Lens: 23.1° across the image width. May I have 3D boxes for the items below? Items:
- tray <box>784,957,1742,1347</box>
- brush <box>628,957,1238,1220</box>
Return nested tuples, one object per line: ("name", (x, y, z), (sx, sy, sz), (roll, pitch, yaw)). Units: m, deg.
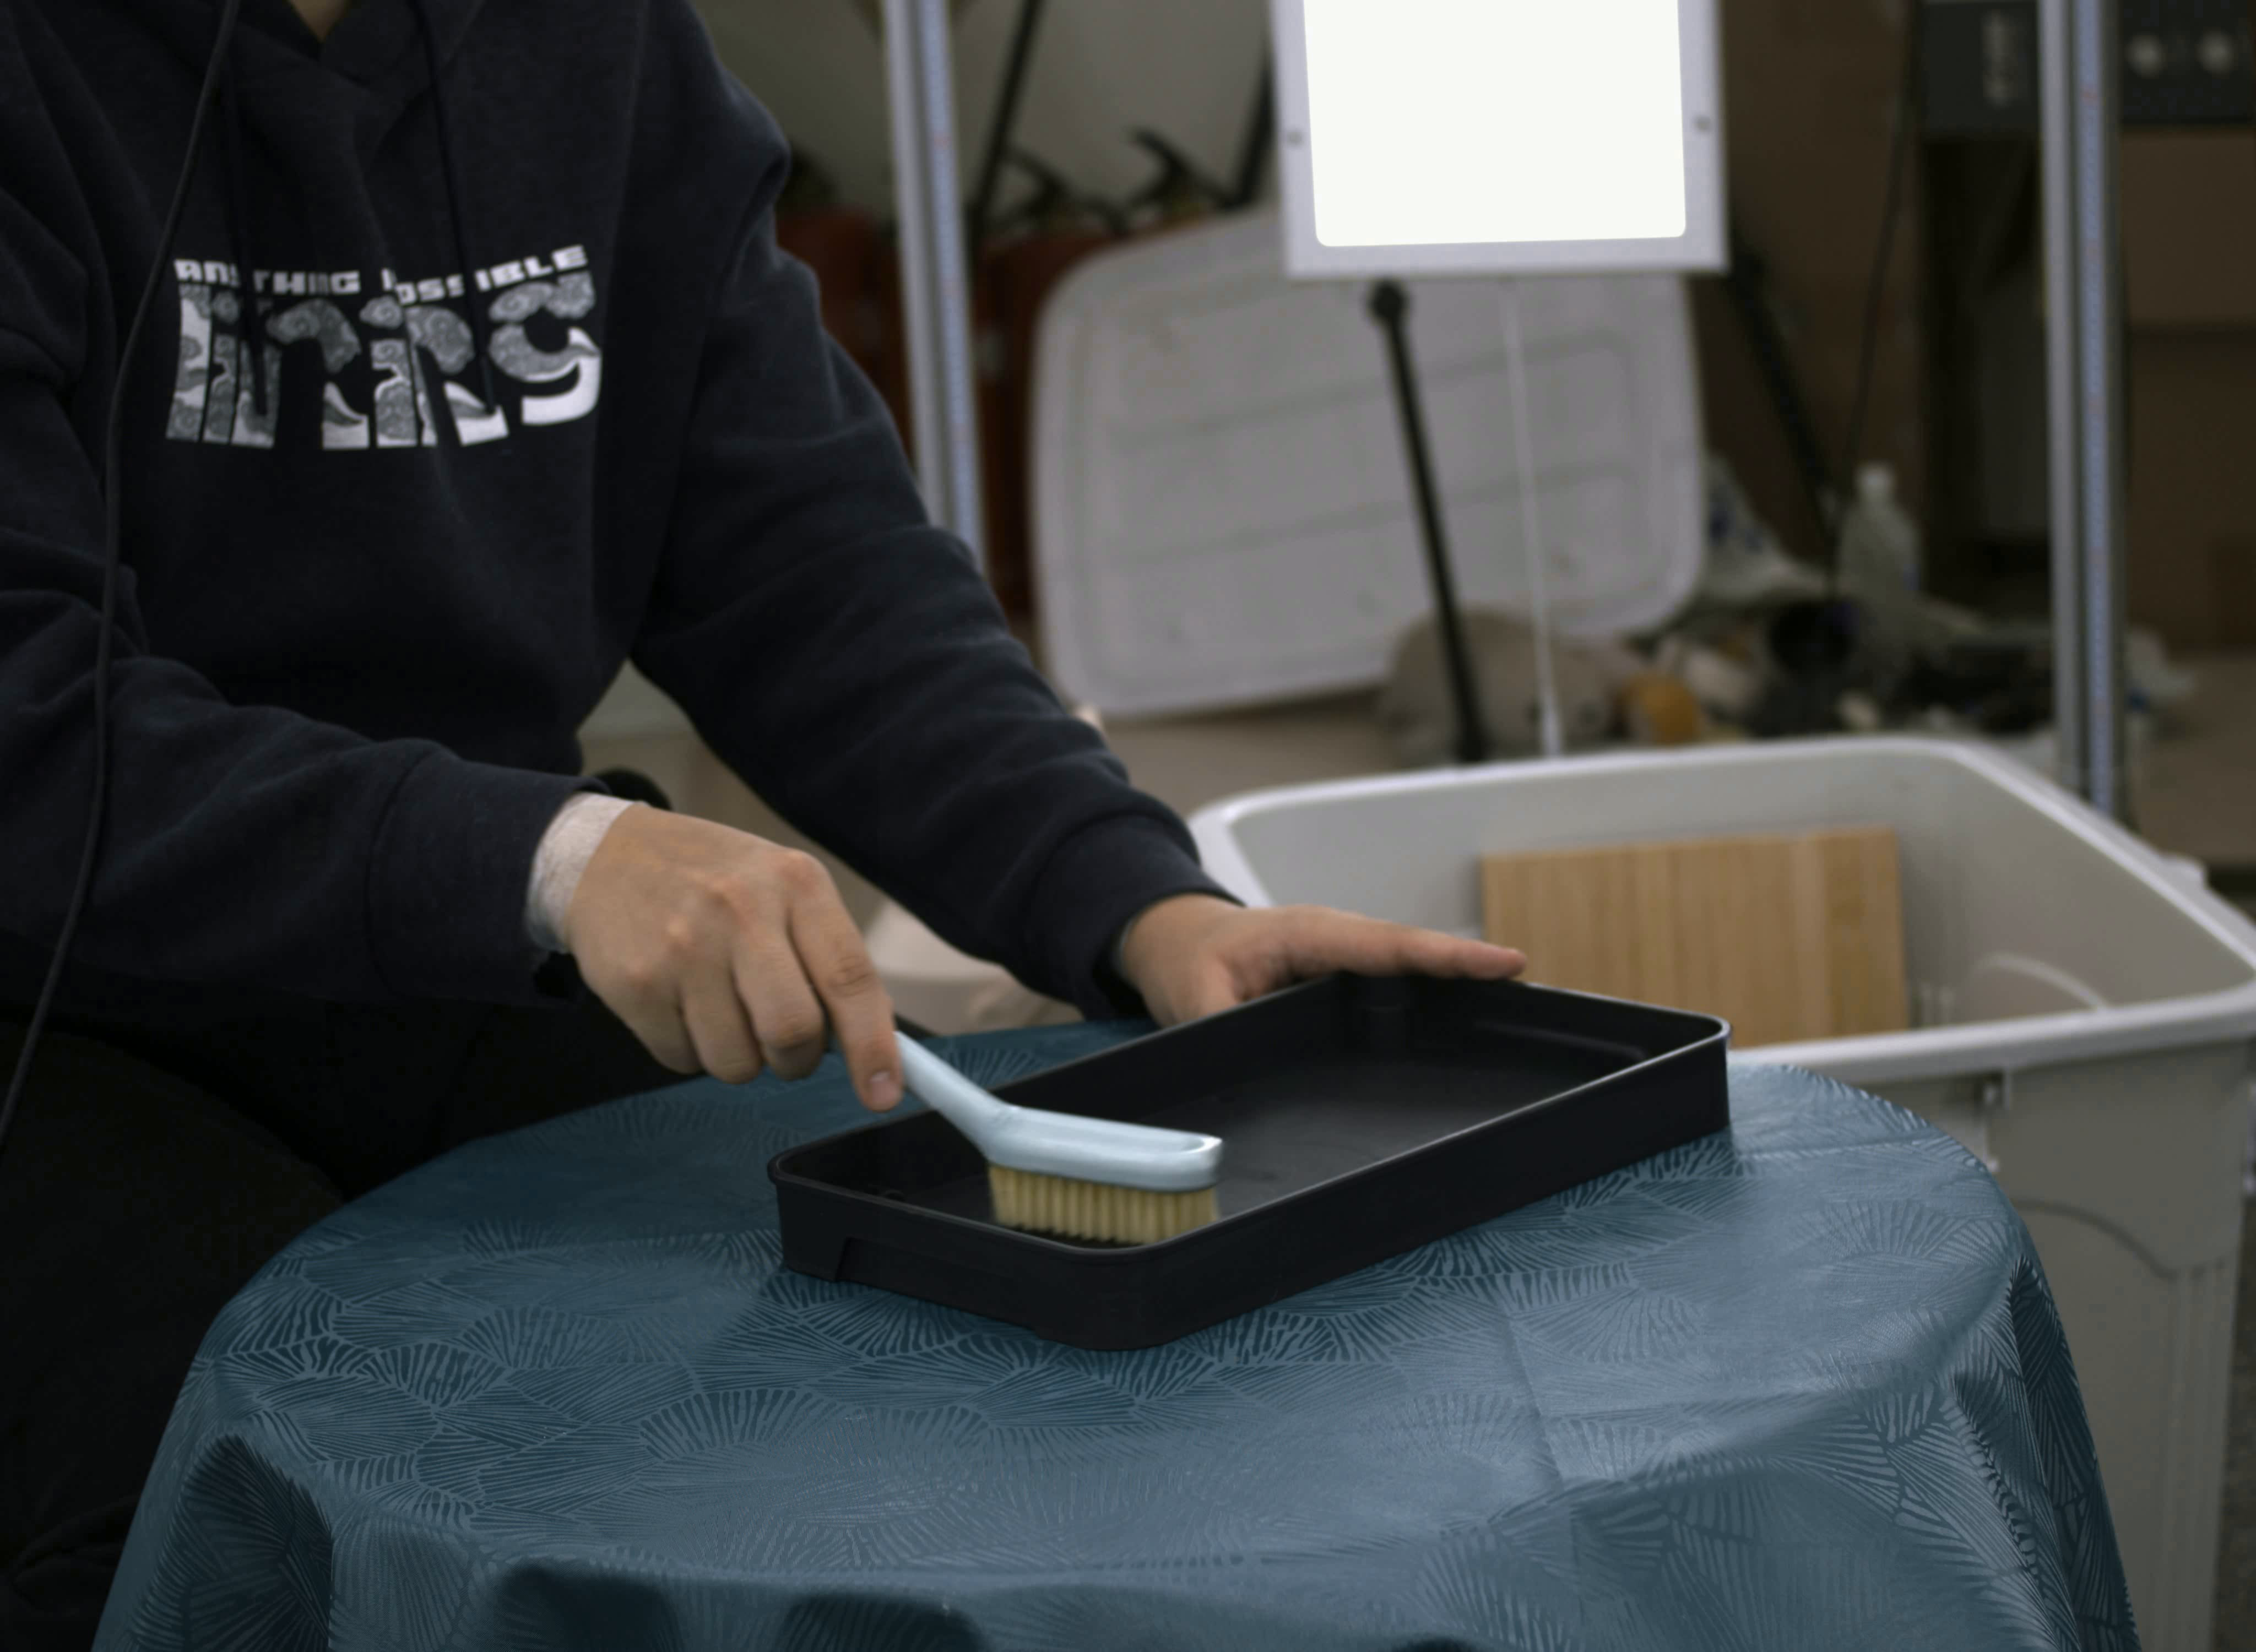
("tray", (0.051, 0.106, 1.889), (0.310, 0.037, 0.188), (-17, 18, -42))
("brush", (-0.069, 0.092, 1.872), (0.231, 0.050, 0.037), (18, 26, 22))
